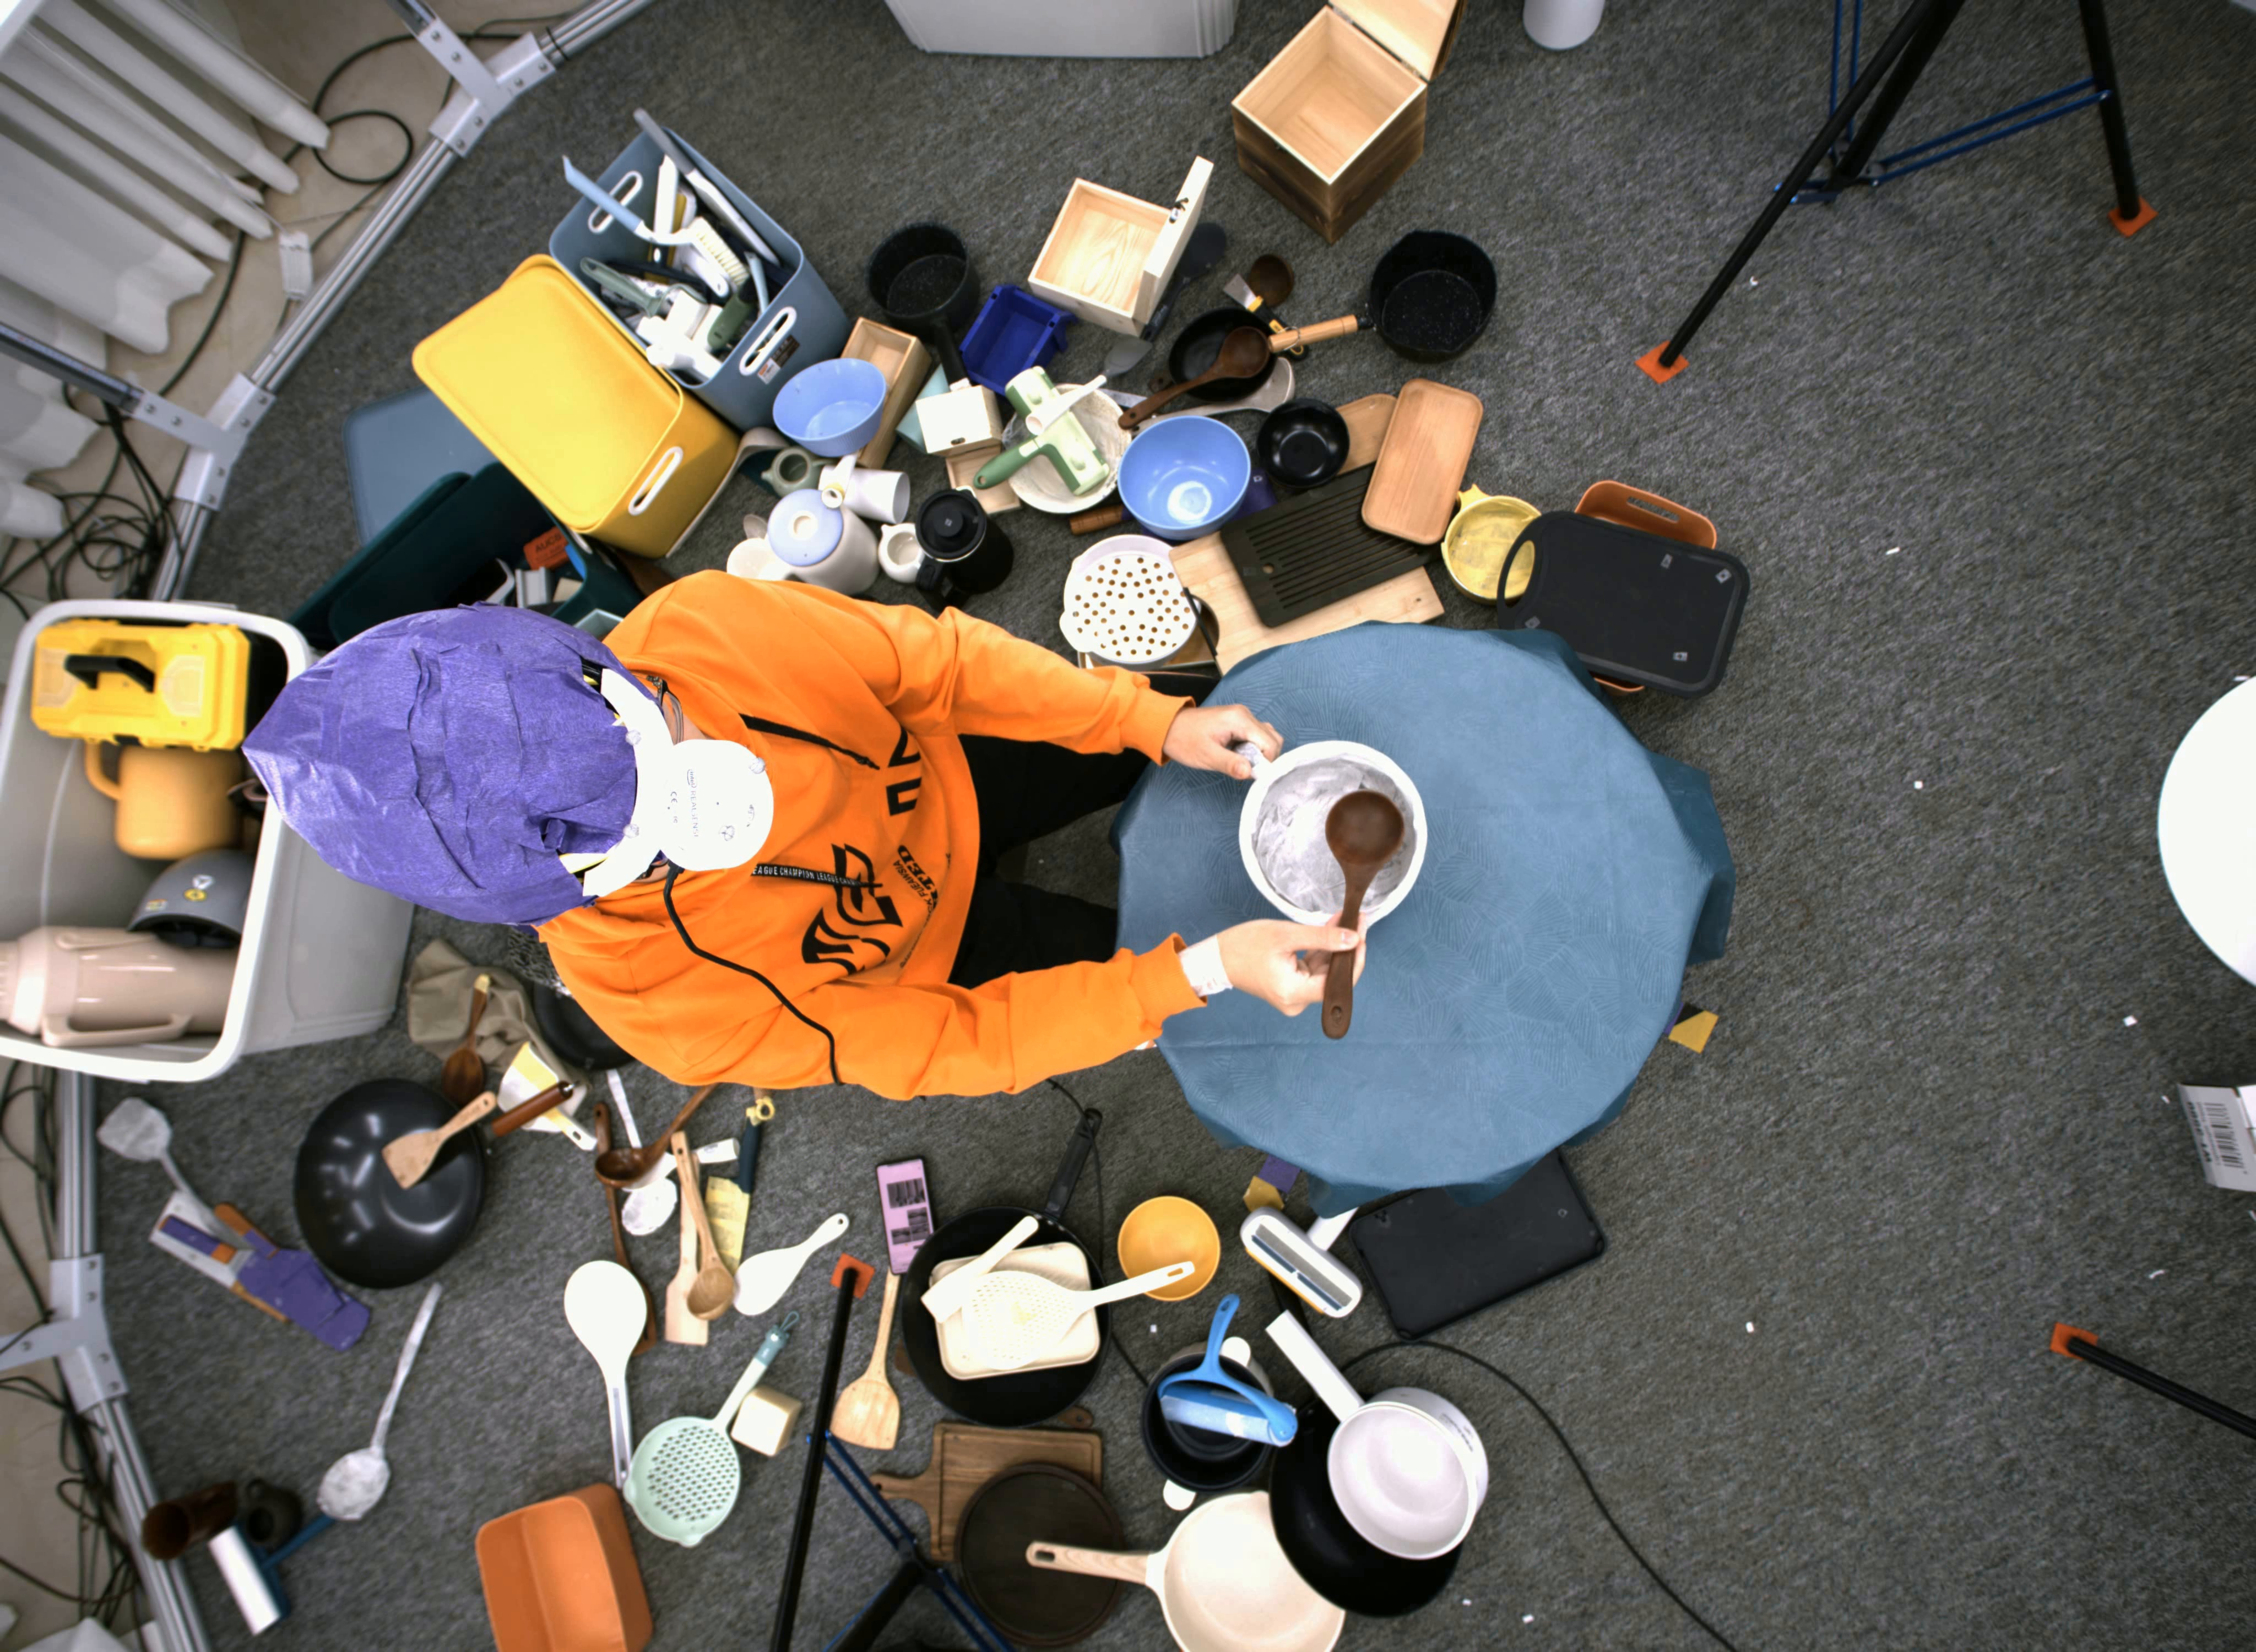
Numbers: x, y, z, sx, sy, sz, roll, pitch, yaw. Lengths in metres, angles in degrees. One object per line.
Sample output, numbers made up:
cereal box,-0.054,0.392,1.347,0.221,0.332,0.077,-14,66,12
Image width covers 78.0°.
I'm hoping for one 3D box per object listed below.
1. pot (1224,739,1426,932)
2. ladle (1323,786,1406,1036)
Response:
pot,0.184,-0.004,1.374,0.232,0.137,0.179,43,93,11
ladle,0.202,0.069,1.248,0.077,0.066,0.253,0,46,21
